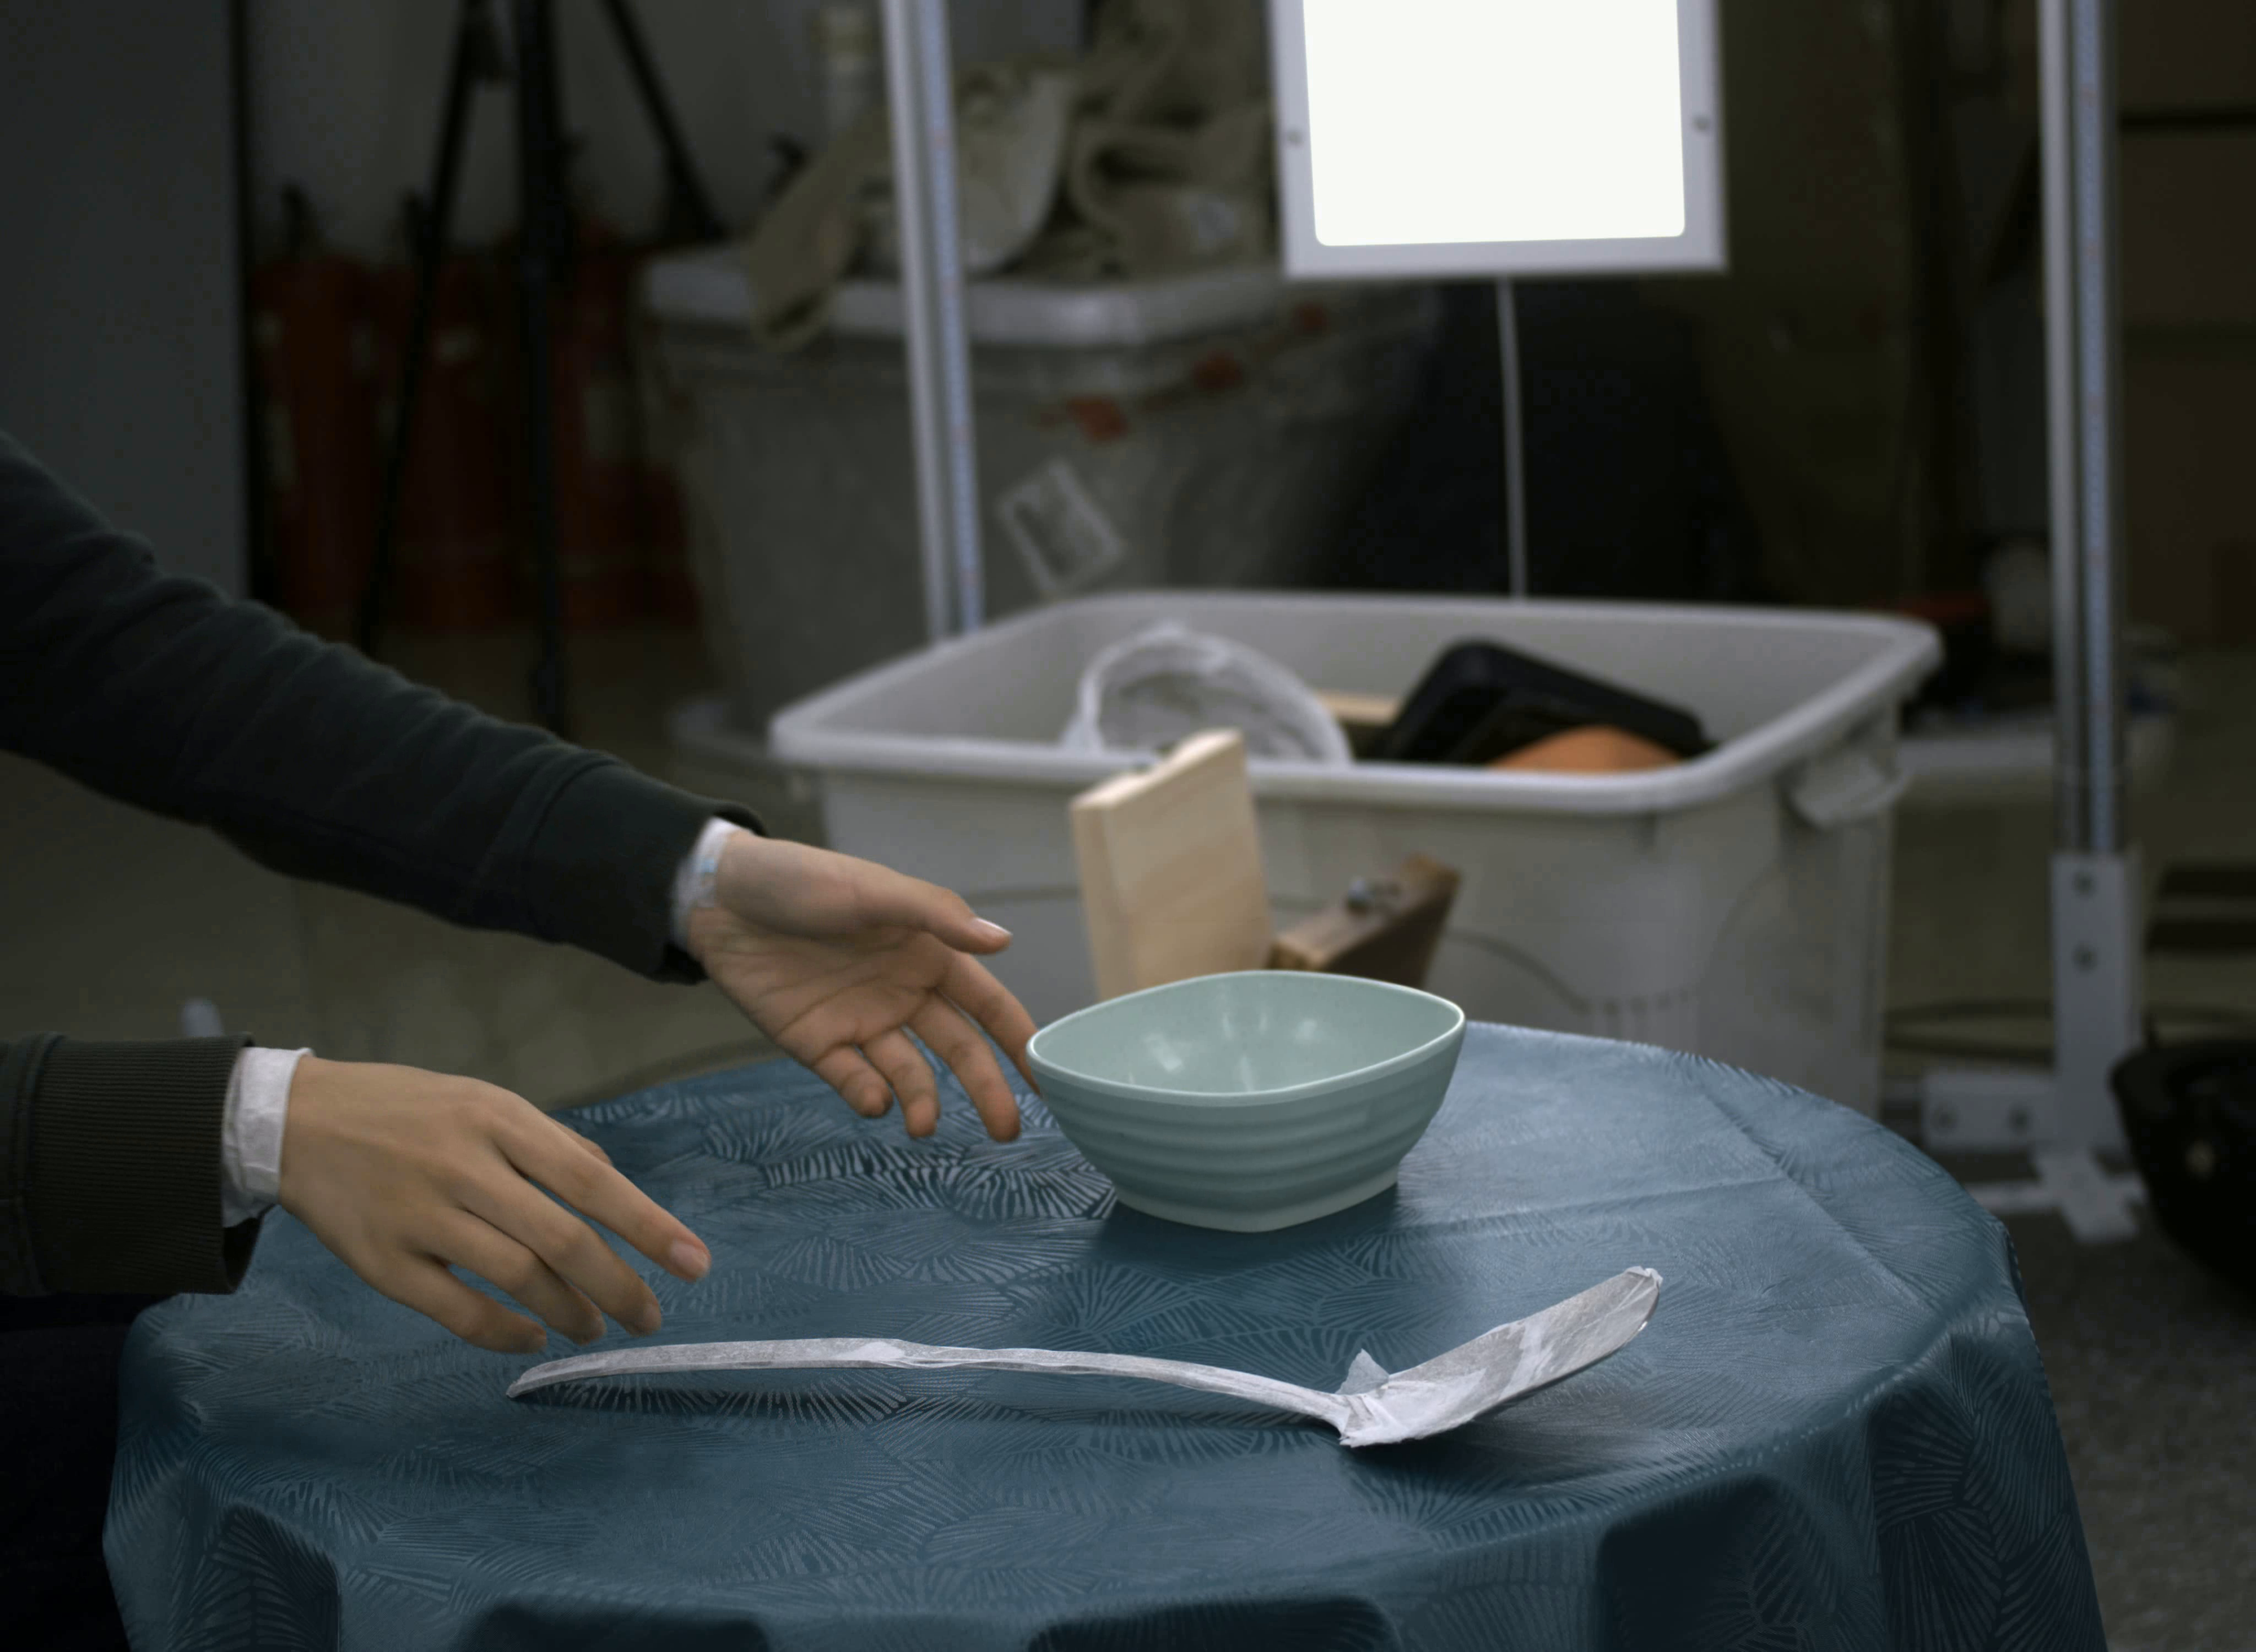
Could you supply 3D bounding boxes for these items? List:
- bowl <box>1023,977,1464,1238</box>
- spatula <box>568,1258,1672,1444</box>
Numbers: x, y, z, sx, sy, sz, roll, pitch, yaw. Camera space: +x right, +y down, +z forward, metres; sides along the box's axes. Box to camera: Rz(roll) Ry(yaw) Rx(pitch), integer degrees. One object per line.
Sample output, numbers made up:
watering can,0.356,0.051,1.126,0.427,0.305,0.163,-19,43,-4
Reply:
bowl,0.040,0.099,1.882,0.151,0.059,0.151,-3,14,-1
spatula,-0.013,0.159,1.686,0.370,0.045,0.097,1,16,21
